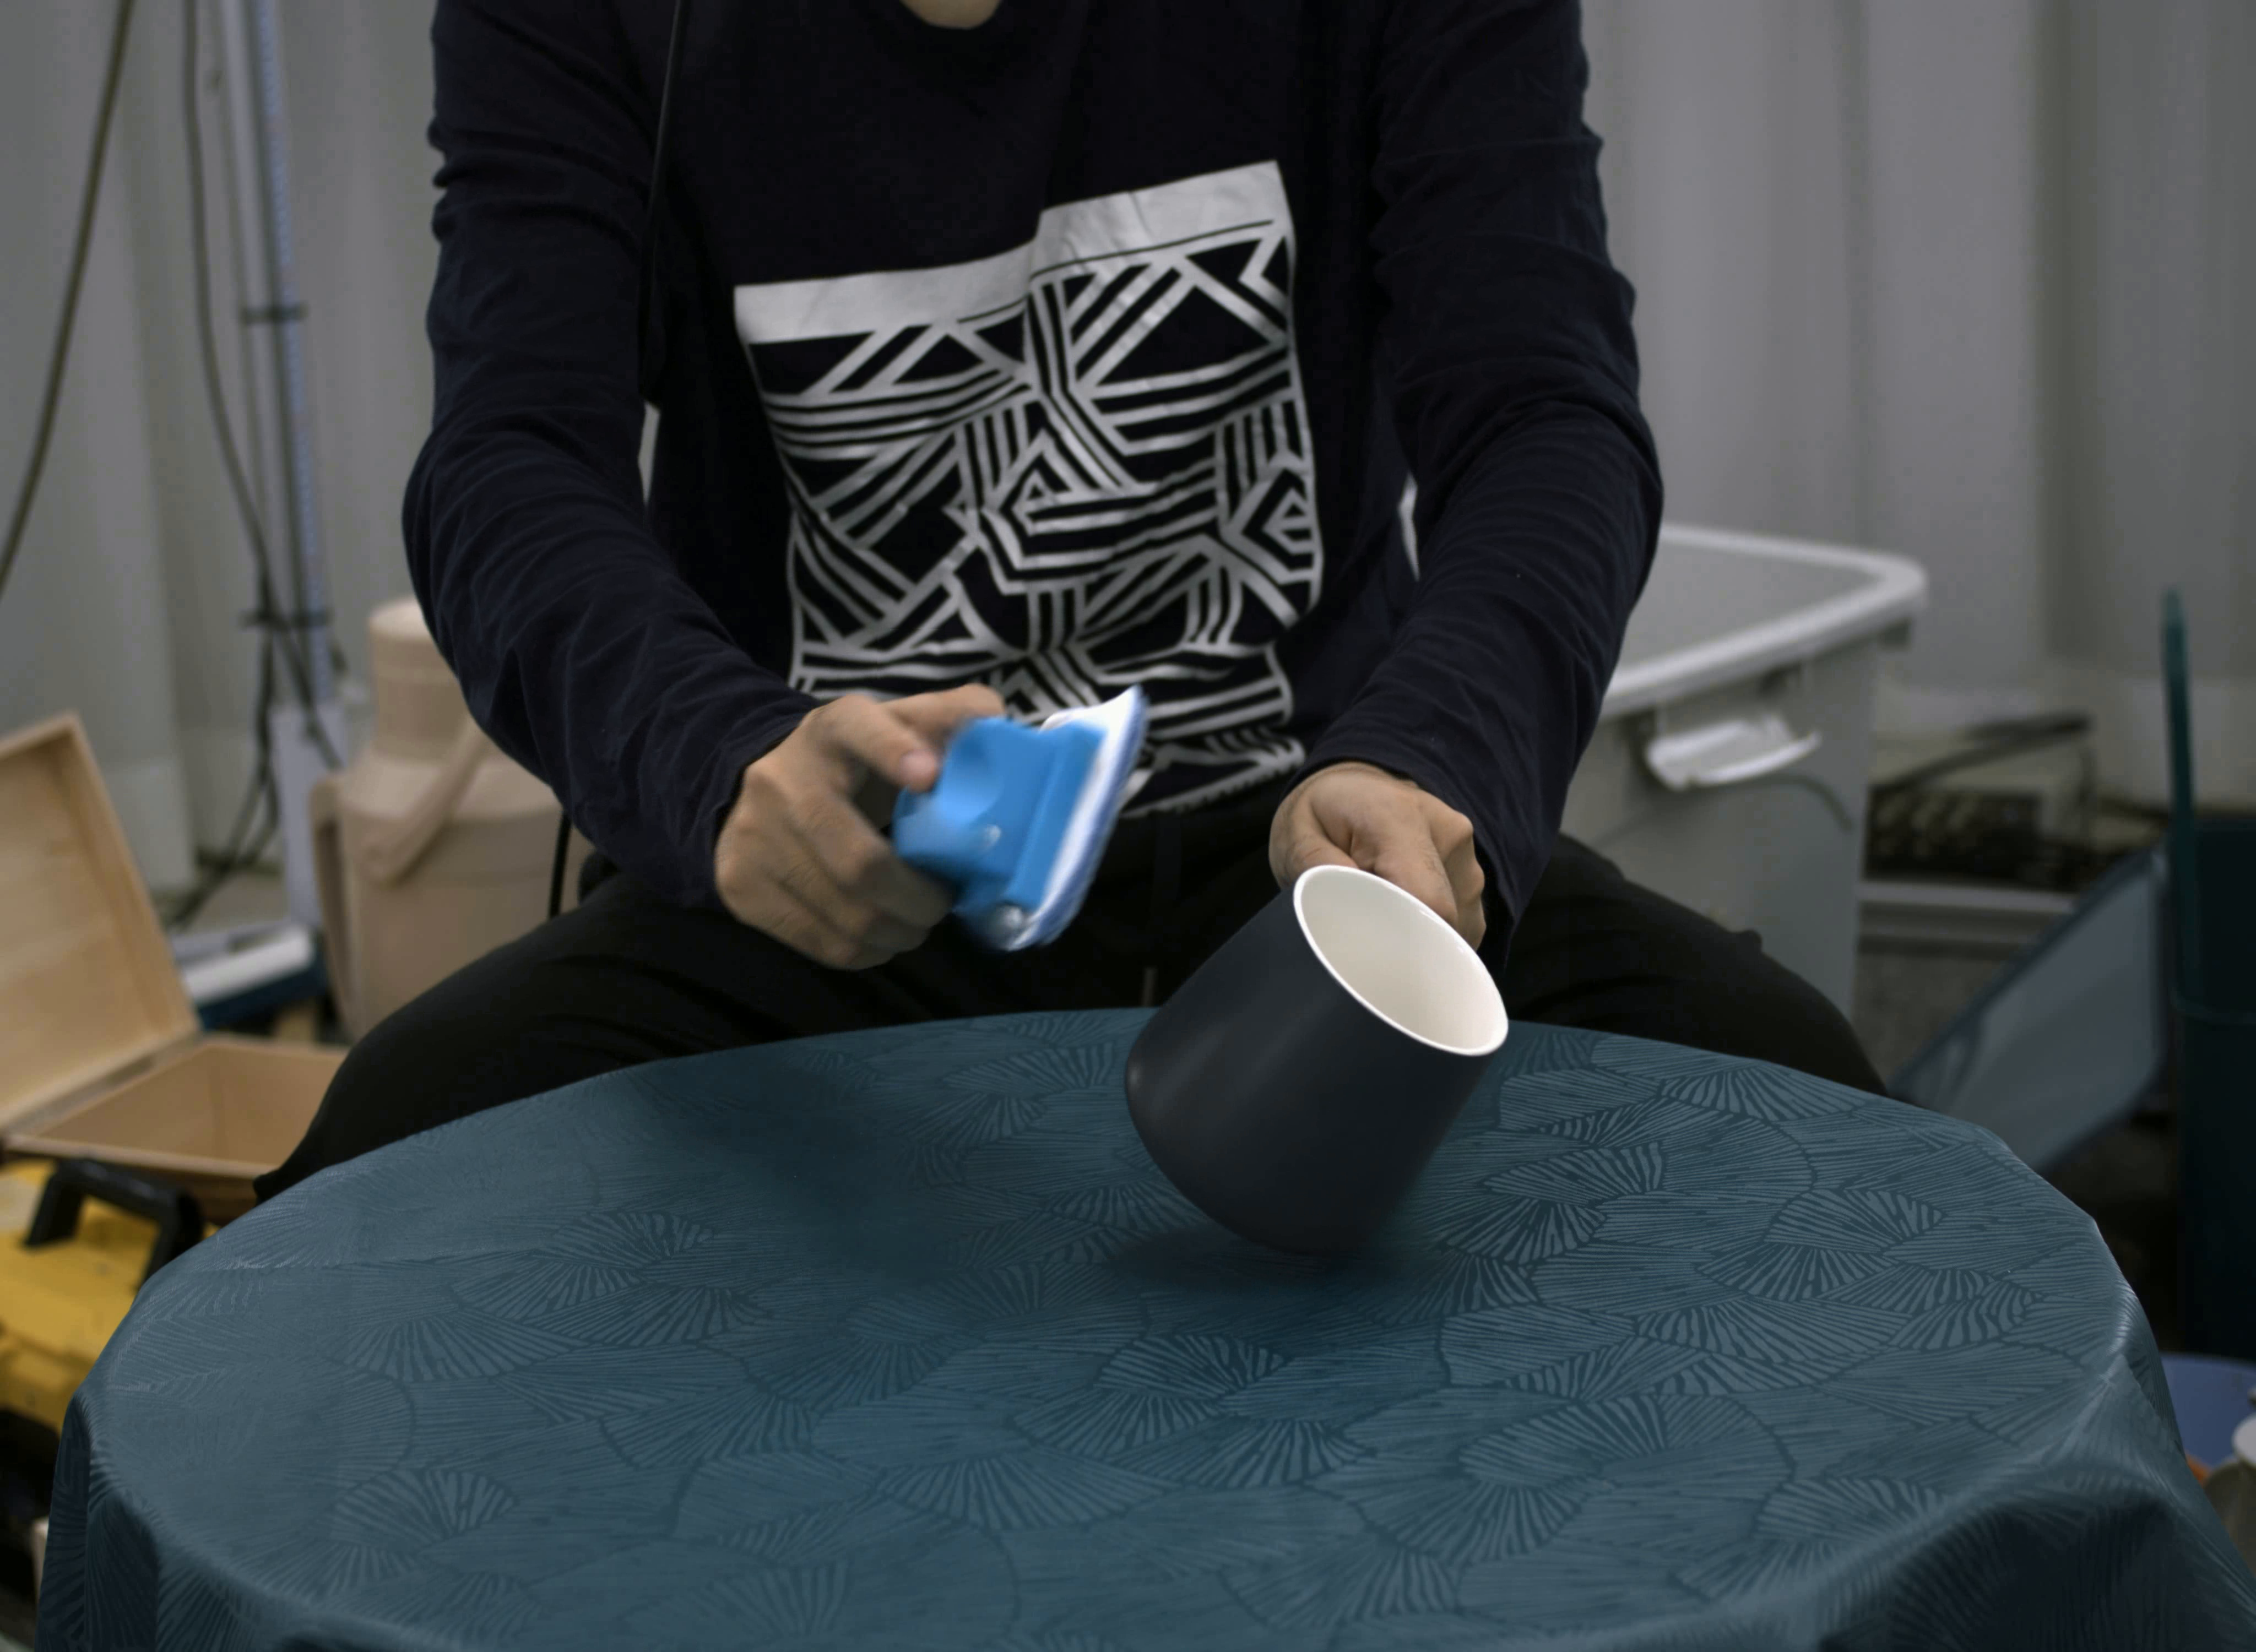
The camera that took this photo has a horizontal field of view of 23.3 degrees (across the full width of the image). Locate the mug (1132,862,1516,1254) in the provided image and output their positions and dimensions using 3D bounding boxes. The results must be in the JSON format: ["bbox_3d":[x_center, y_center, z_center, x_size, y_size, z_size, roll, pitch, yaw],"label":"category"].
[{"bbox_3d":[0.060,0.062,1.646,0.093,0.089,0.125,32,28,-13],"label":"mug"}]

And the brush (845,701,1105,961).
[{"bbox_3d":[-0.051,-0.004,1.639,0.055,0.084,0.144,27,-5,-11],"label":"brush"}]
